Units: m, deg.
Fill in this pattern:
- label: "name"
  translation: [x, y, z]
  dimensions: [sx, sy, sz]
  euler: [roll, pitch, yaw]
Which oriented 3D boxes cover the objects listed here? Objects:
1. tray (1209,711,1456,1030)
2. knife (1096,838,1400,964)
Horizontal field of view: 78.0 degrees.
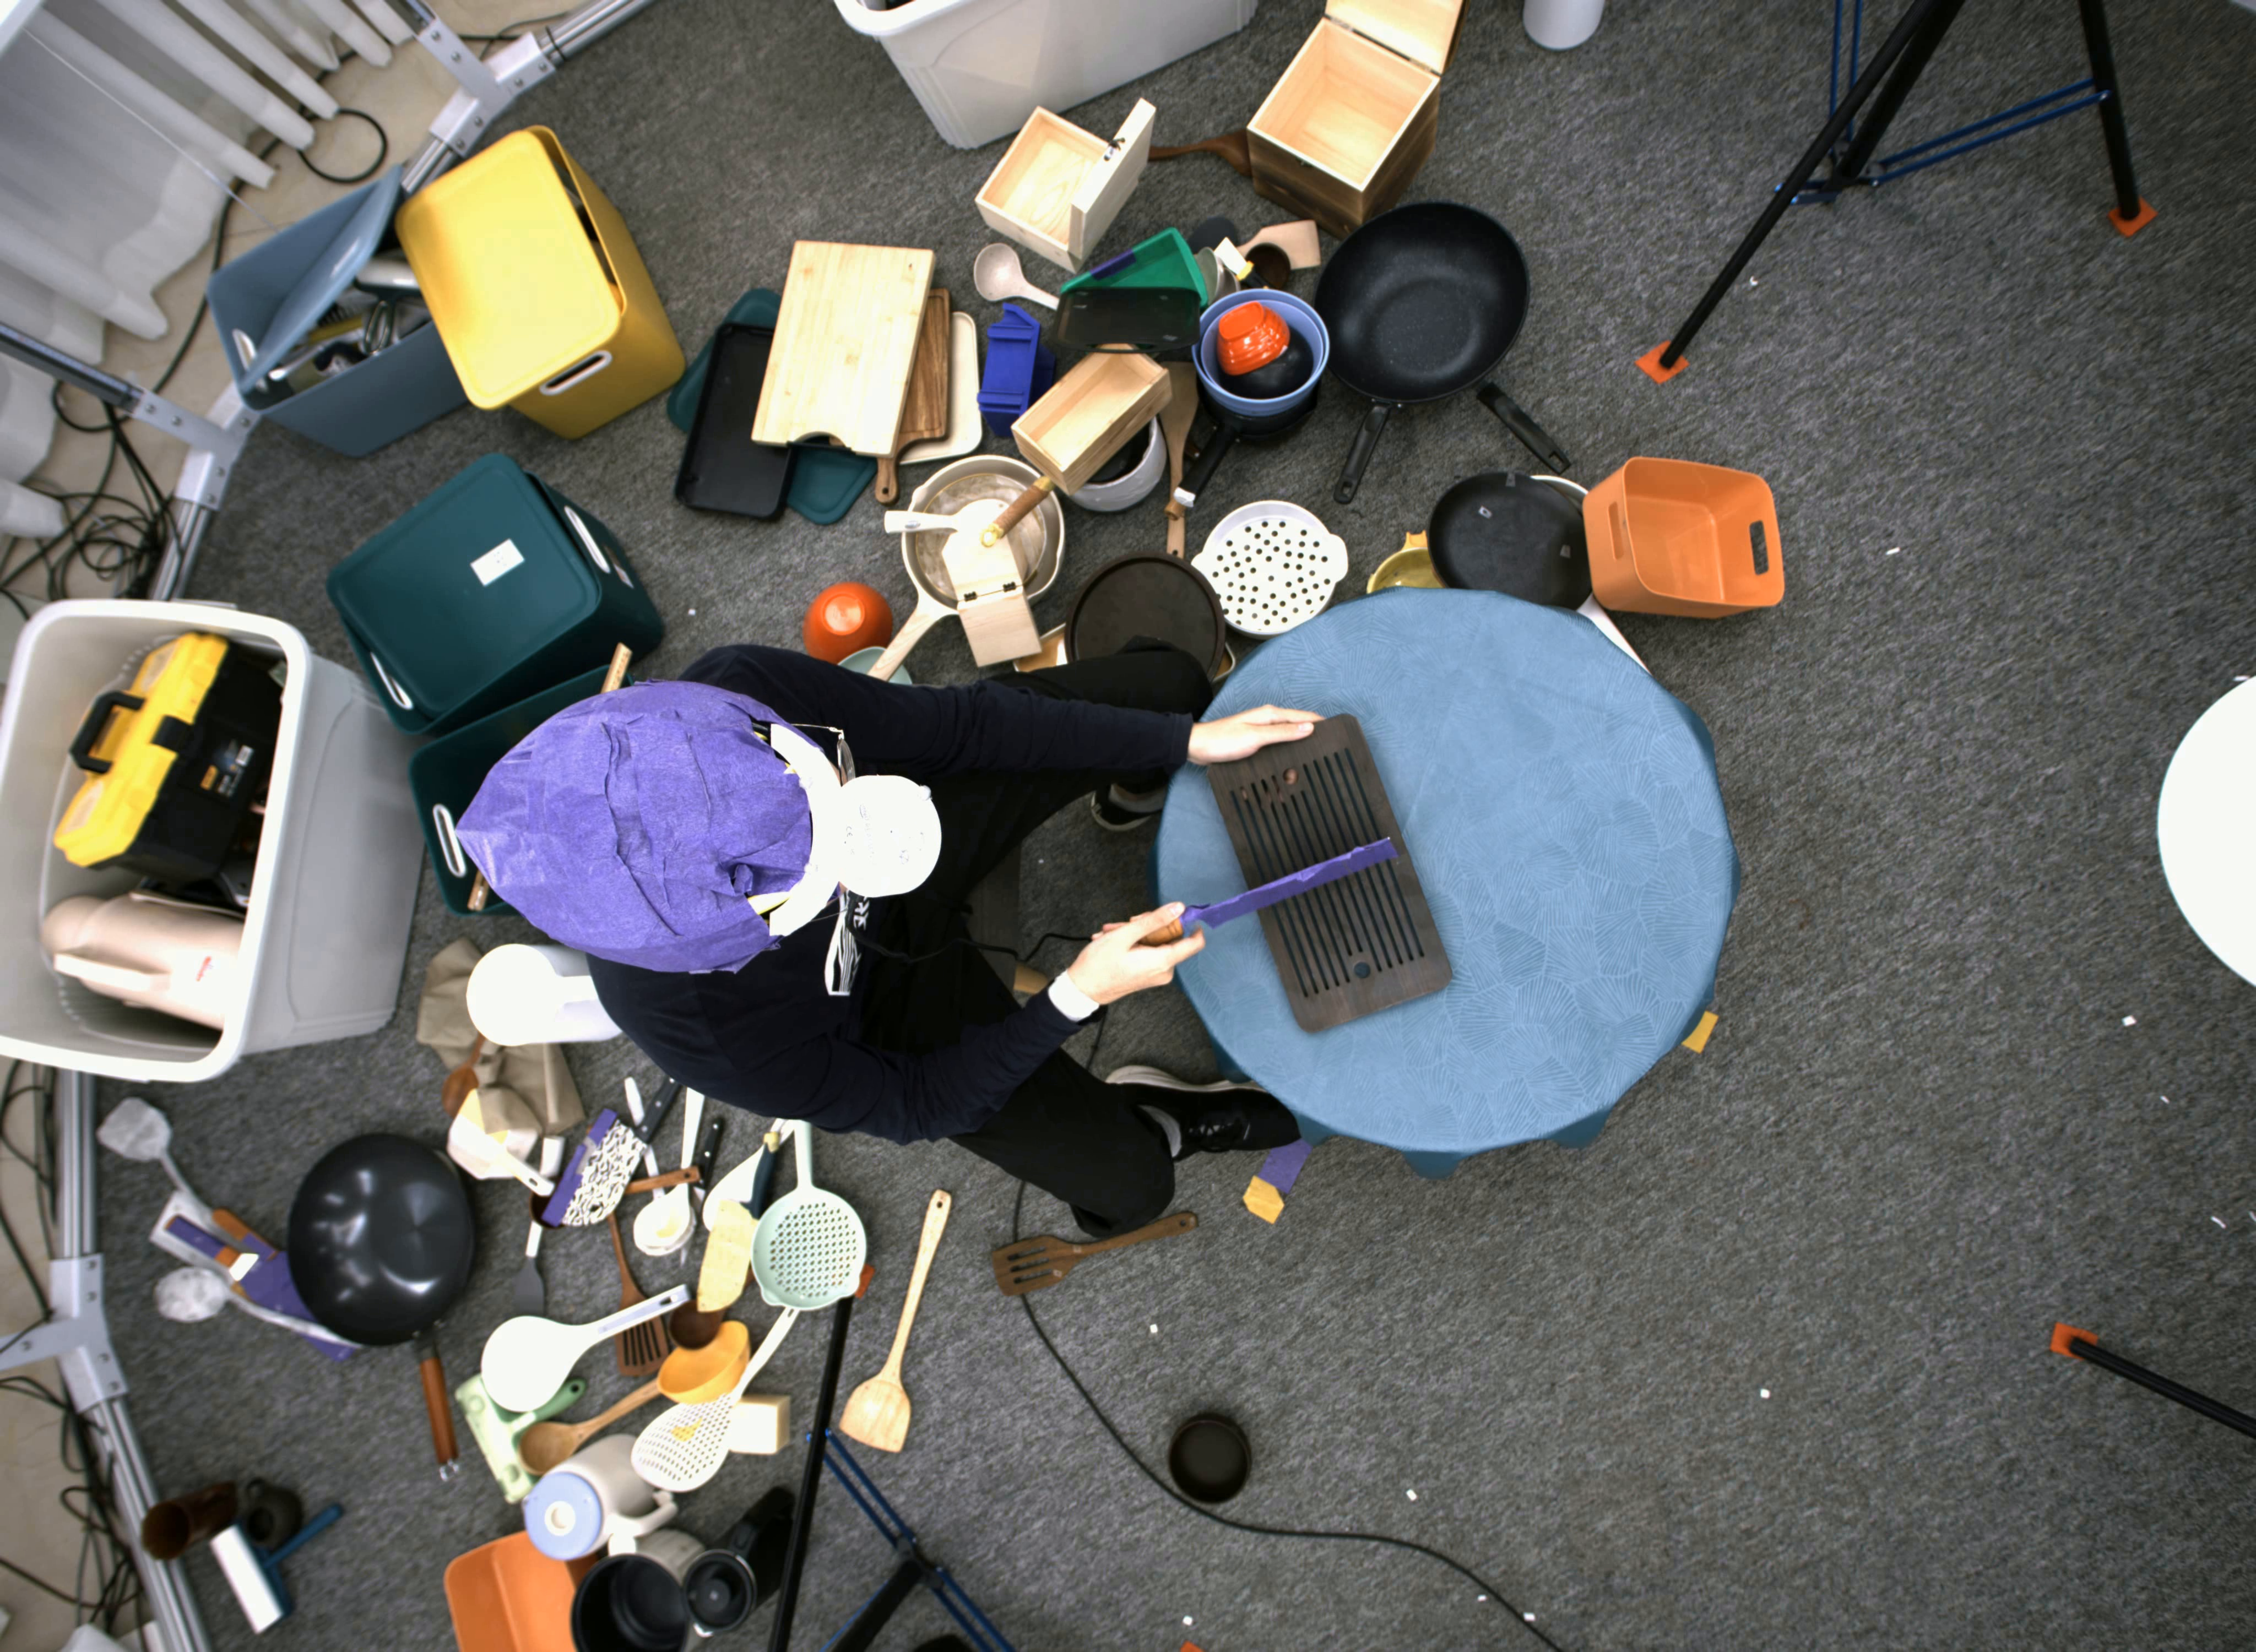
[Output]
- label: "tray"
  translation: [0.213, 0.046, 1.449]
  dimensions: [0.171, 0.018, 0.305]
  euler: [-20, 89, 9]
- label: "knife"
  translation: [0.125, 0.079, 1.405]
  dimensions: [0.318, 0.104, 0.032]
  euler: [-20, 73, 13]
